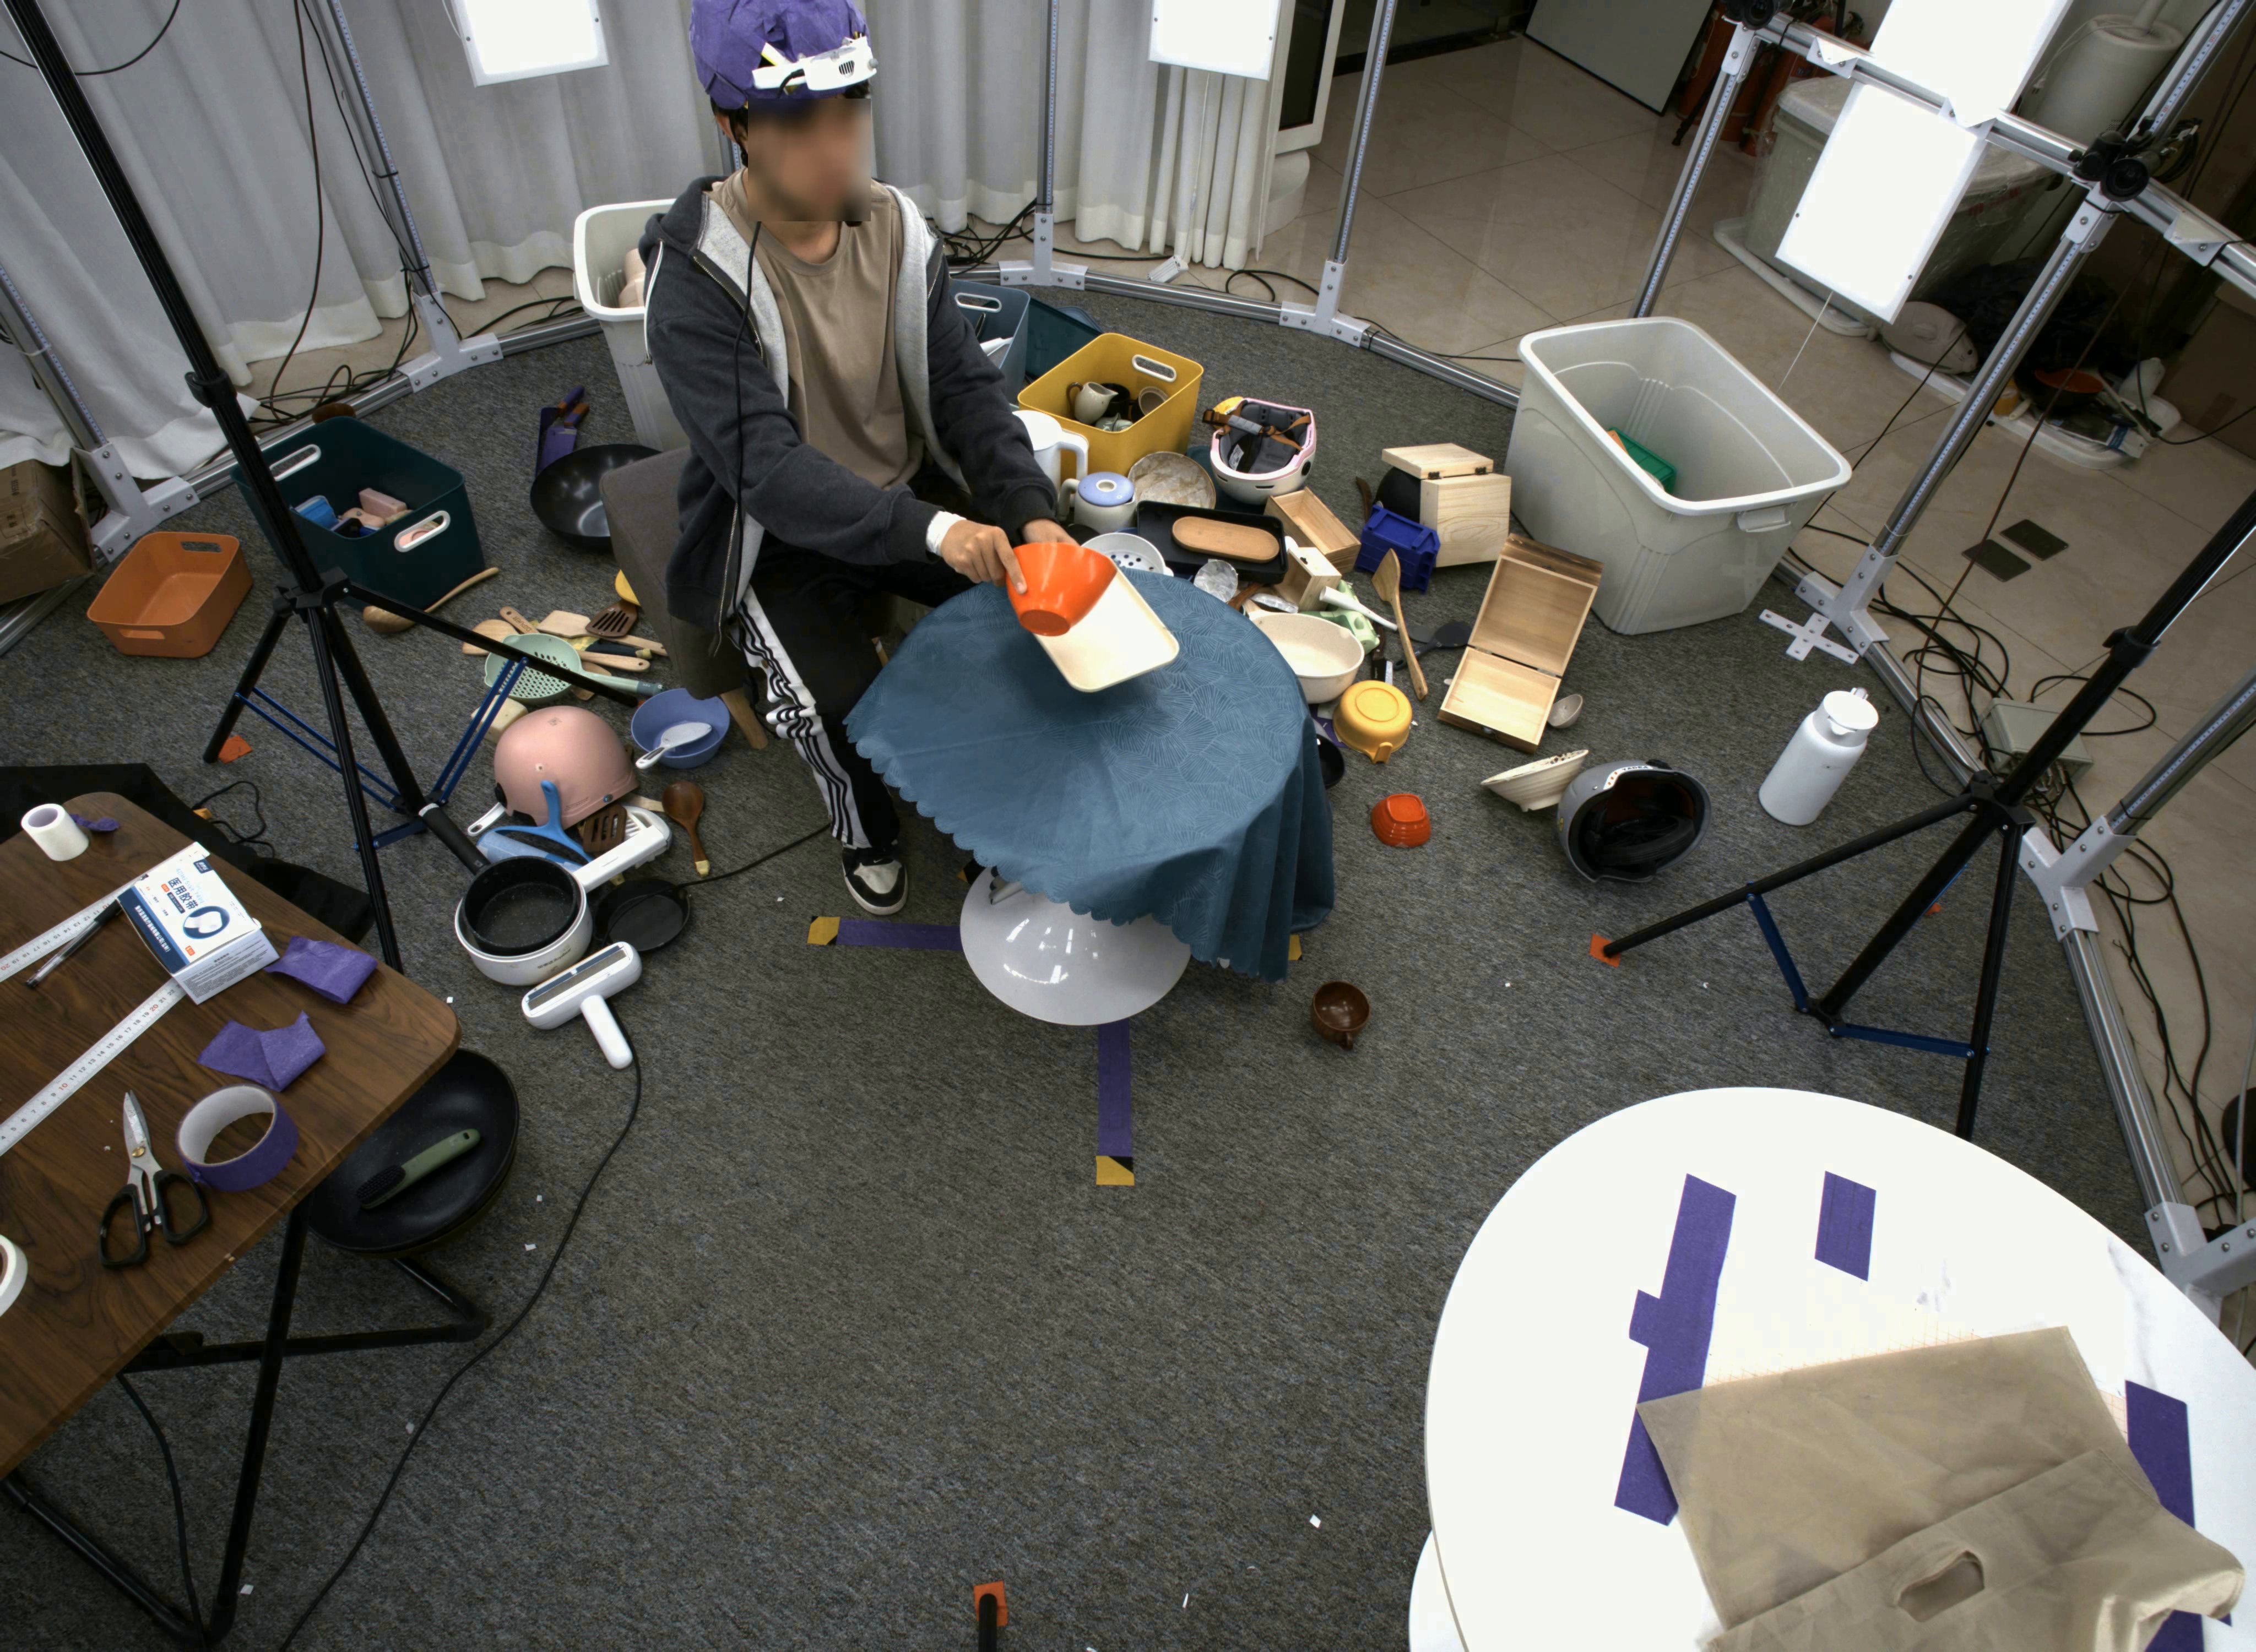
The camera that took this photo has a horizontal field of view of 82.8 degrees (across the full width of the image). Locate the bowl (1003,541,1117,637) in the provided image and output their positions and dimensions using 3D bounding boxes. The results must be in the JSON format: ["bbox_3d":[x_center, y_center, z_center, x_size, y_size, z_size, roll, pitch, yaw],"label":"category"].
[{"bbox_3d":[-0.094,-0.299,1.657,0.148,0.145,0.106,9,69,3],"label":"bowl"}]

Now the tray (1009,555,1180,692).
[{"bbox_3d":[-0.049,-0.287,1.814,0.172,0.017,0.245,-23,56,-18],"label":"tray"}]
